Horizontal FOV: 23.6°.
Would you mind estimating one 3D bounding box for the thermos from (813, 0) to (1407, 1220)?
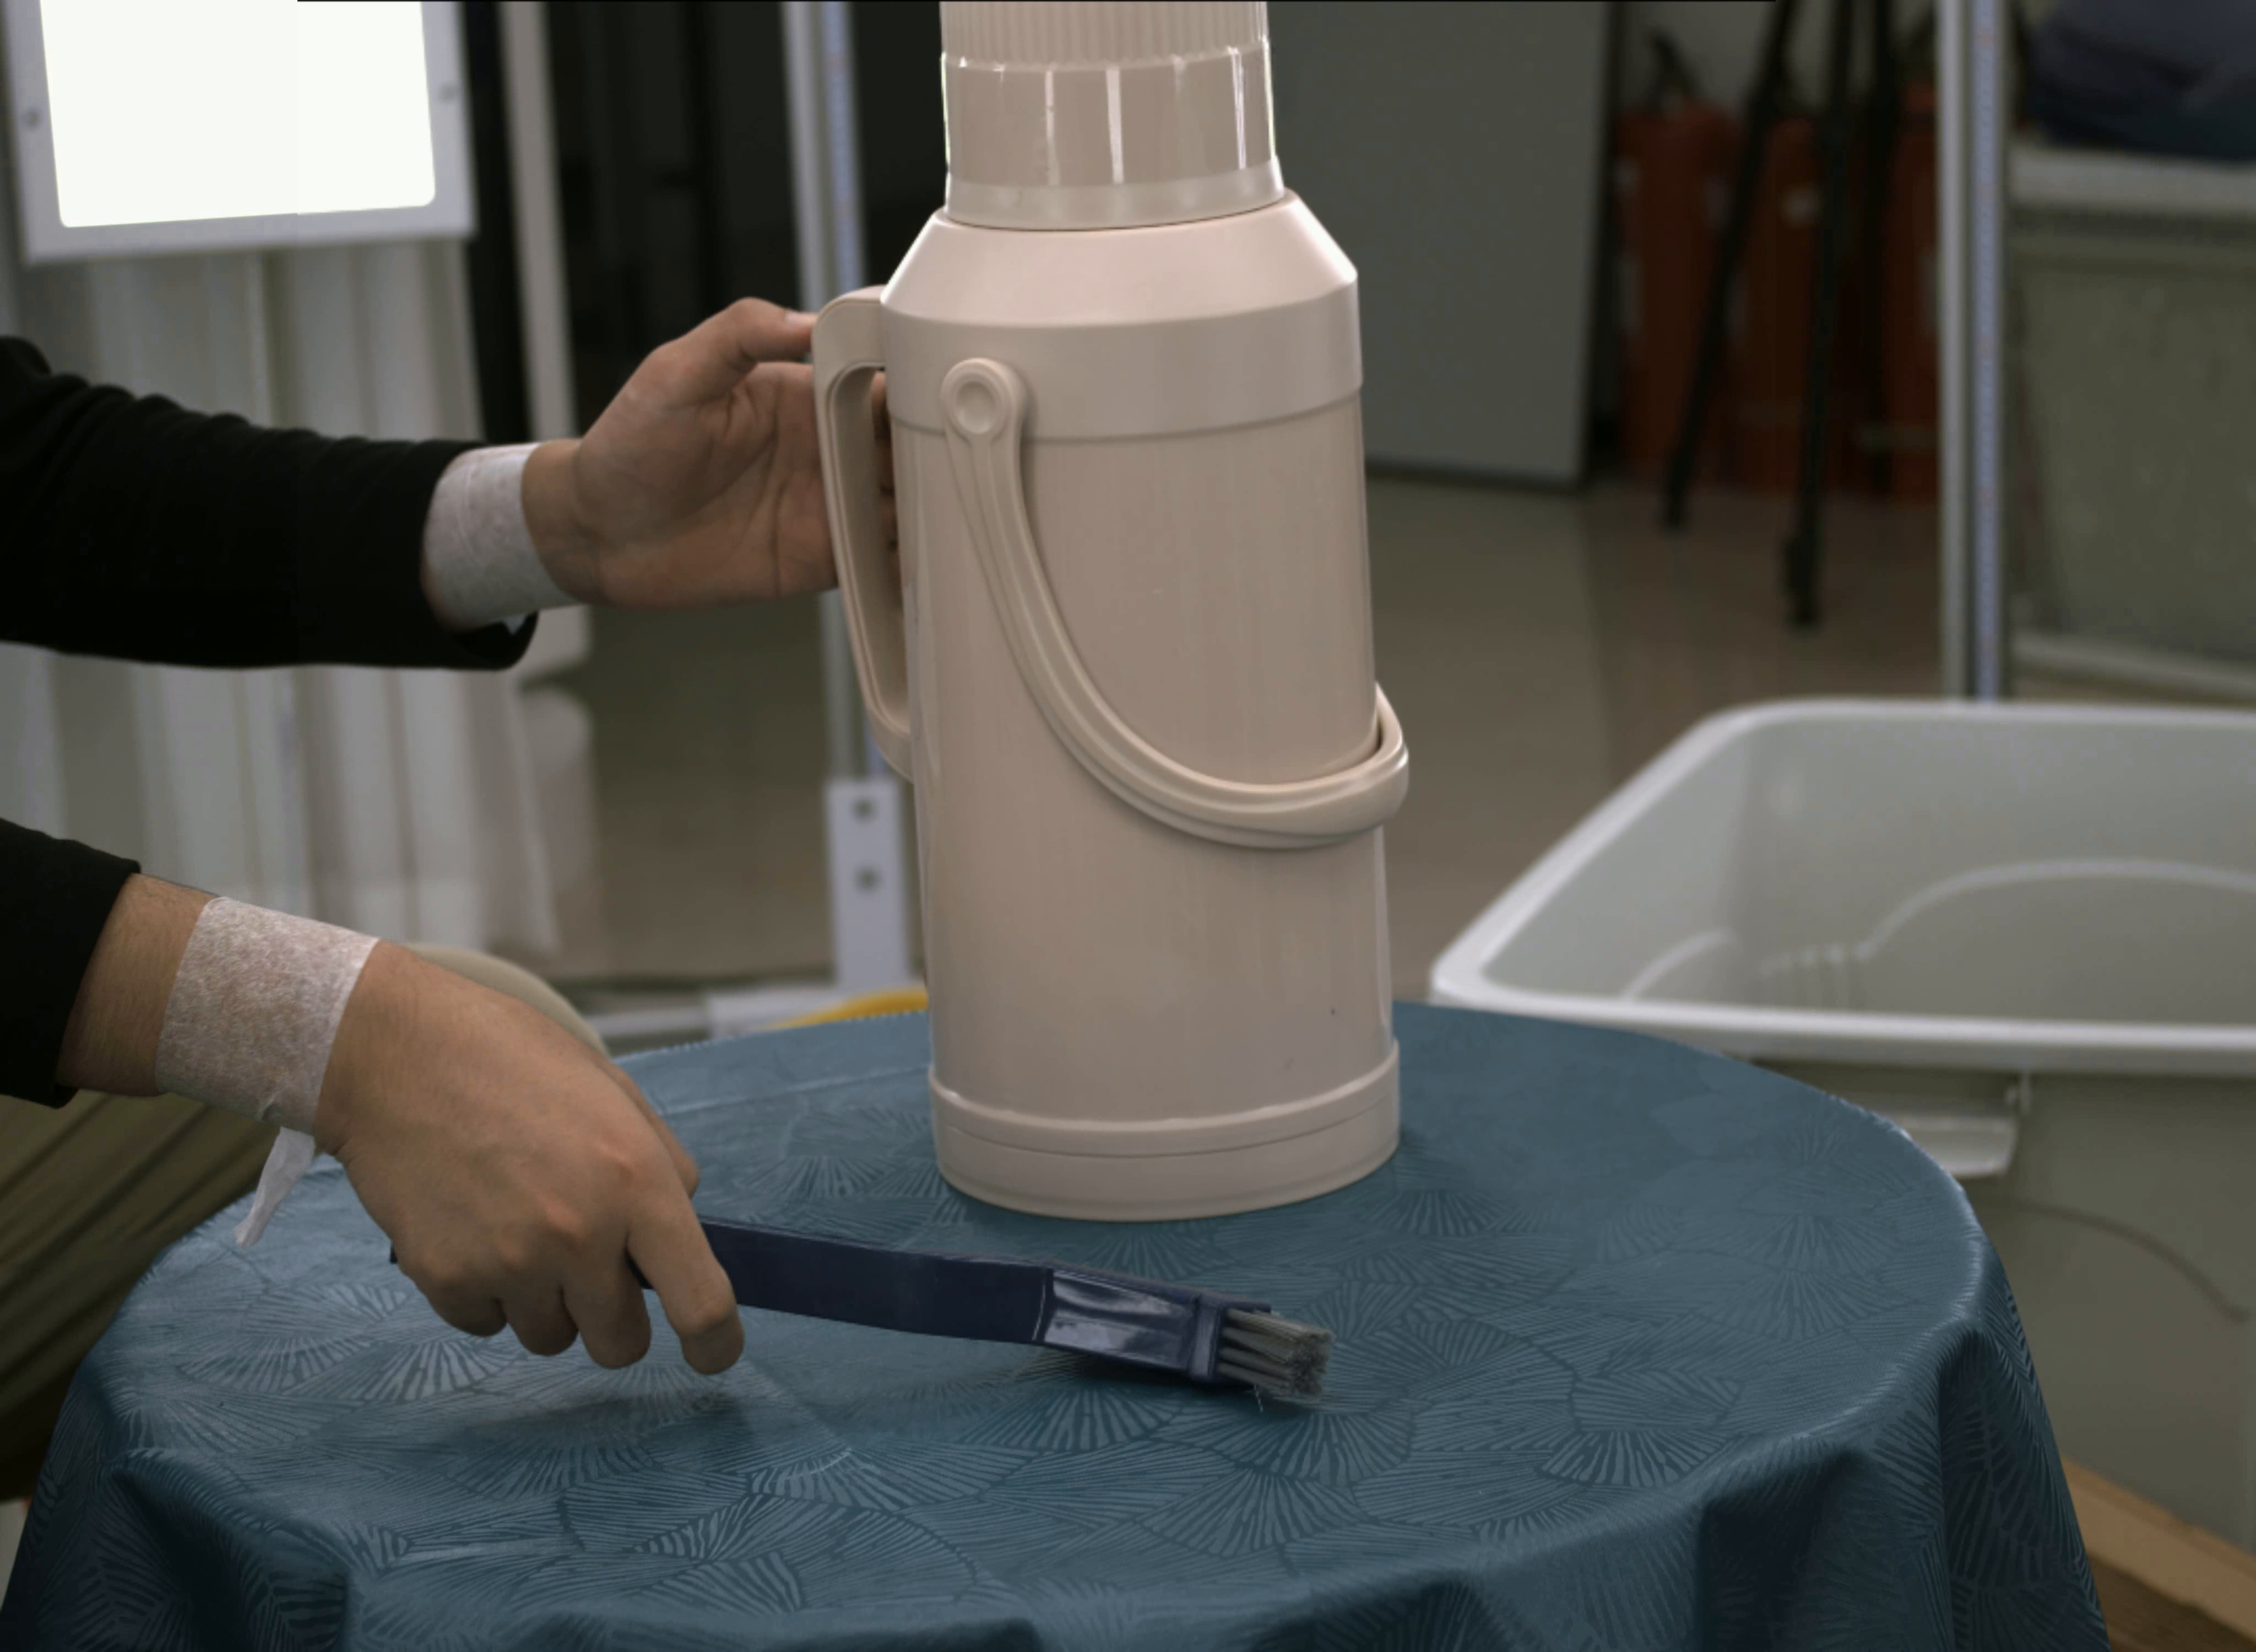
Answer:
[{"bbox_3d":[-0.009,-0.086,1.778,0.208,0.410,0.172,5,17,32],"label":"thermos"}]

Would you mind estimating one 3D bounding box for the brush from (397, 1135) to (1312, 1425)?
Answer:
[{"bbox_3d":[-0.082,0.133,1.583,0.269,0.034,0.096,9,5,-2],"label":"brush"}]
